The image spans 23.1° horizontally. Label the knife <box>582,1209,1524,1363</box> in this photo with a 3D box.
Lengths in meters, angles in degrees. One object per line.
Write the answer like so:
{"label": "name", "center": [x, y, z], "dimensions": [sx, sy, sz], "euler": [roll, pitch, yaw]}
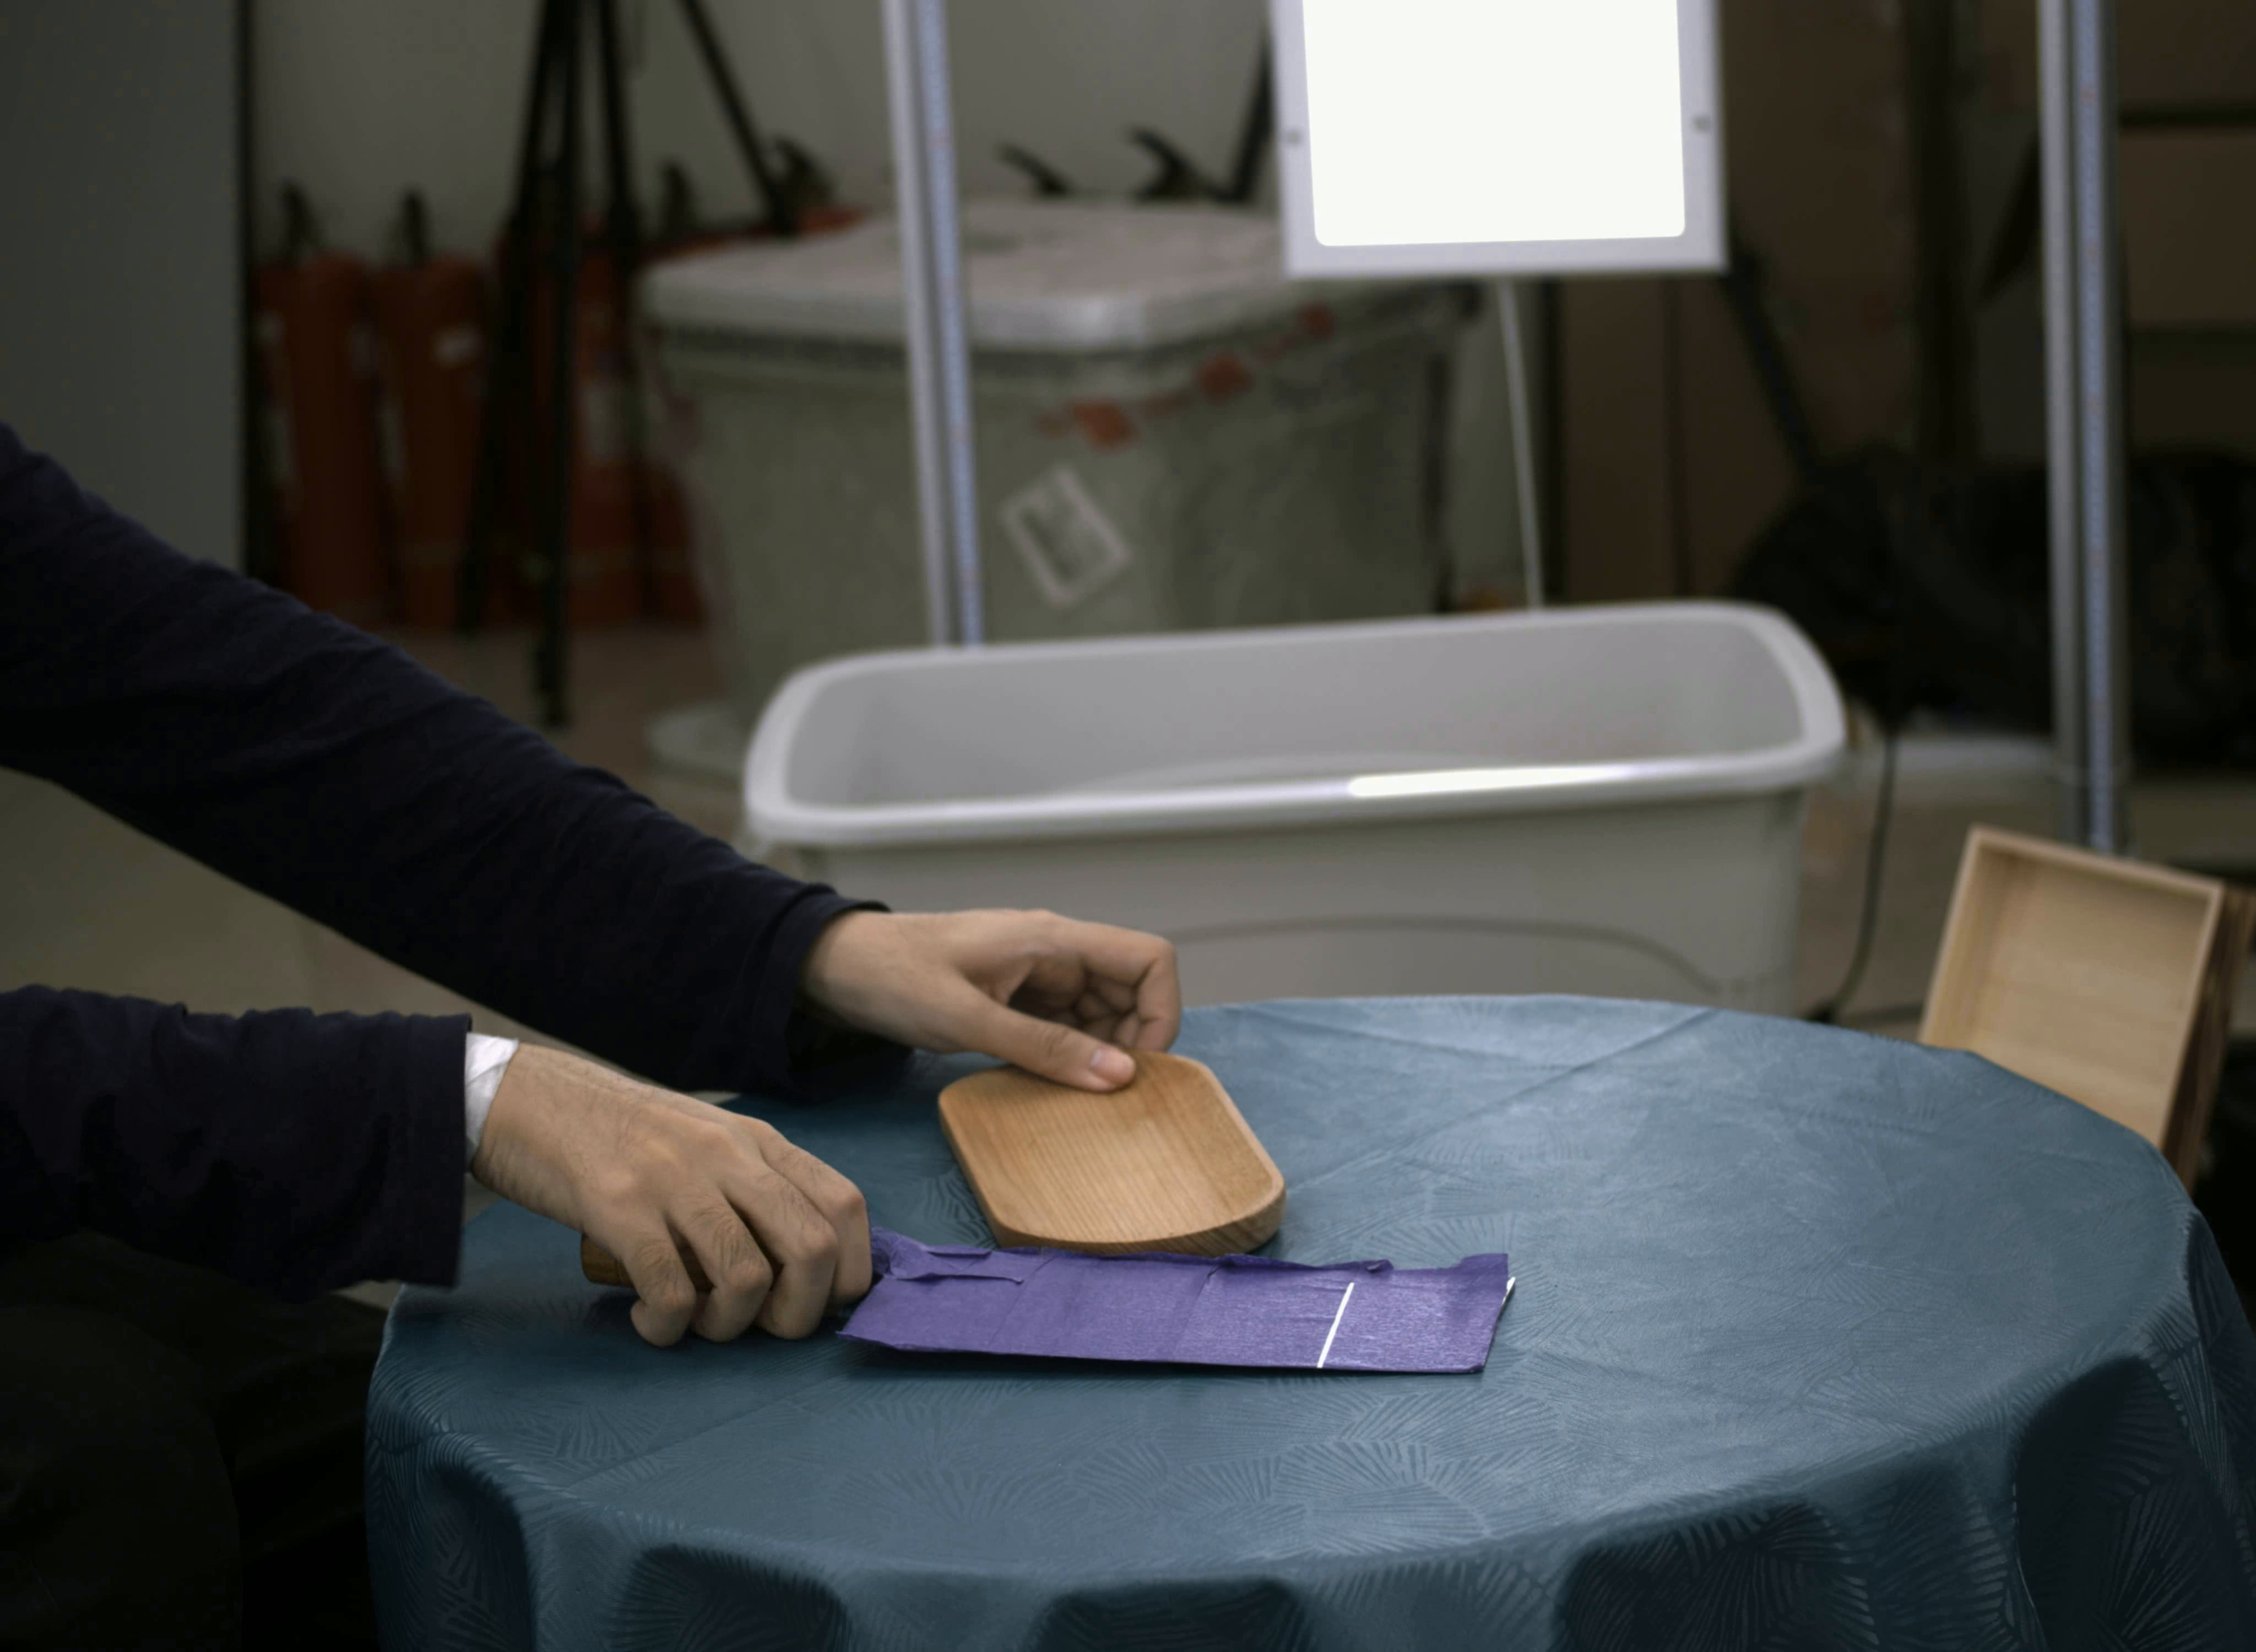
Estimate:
{"label": "knife", "center": [-0.032, 0.148, 1.770], "dimensions": [0.318, 0.032, 0.102], "euler": [-1, 14, 15]}

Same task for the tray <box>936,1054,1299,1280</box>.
{"label": "tray", "center": [-0.005, 0.117, 1.912], "dimensions": [0.101, 0.020, 0.232], "euler": [-9, 16, -9]}
